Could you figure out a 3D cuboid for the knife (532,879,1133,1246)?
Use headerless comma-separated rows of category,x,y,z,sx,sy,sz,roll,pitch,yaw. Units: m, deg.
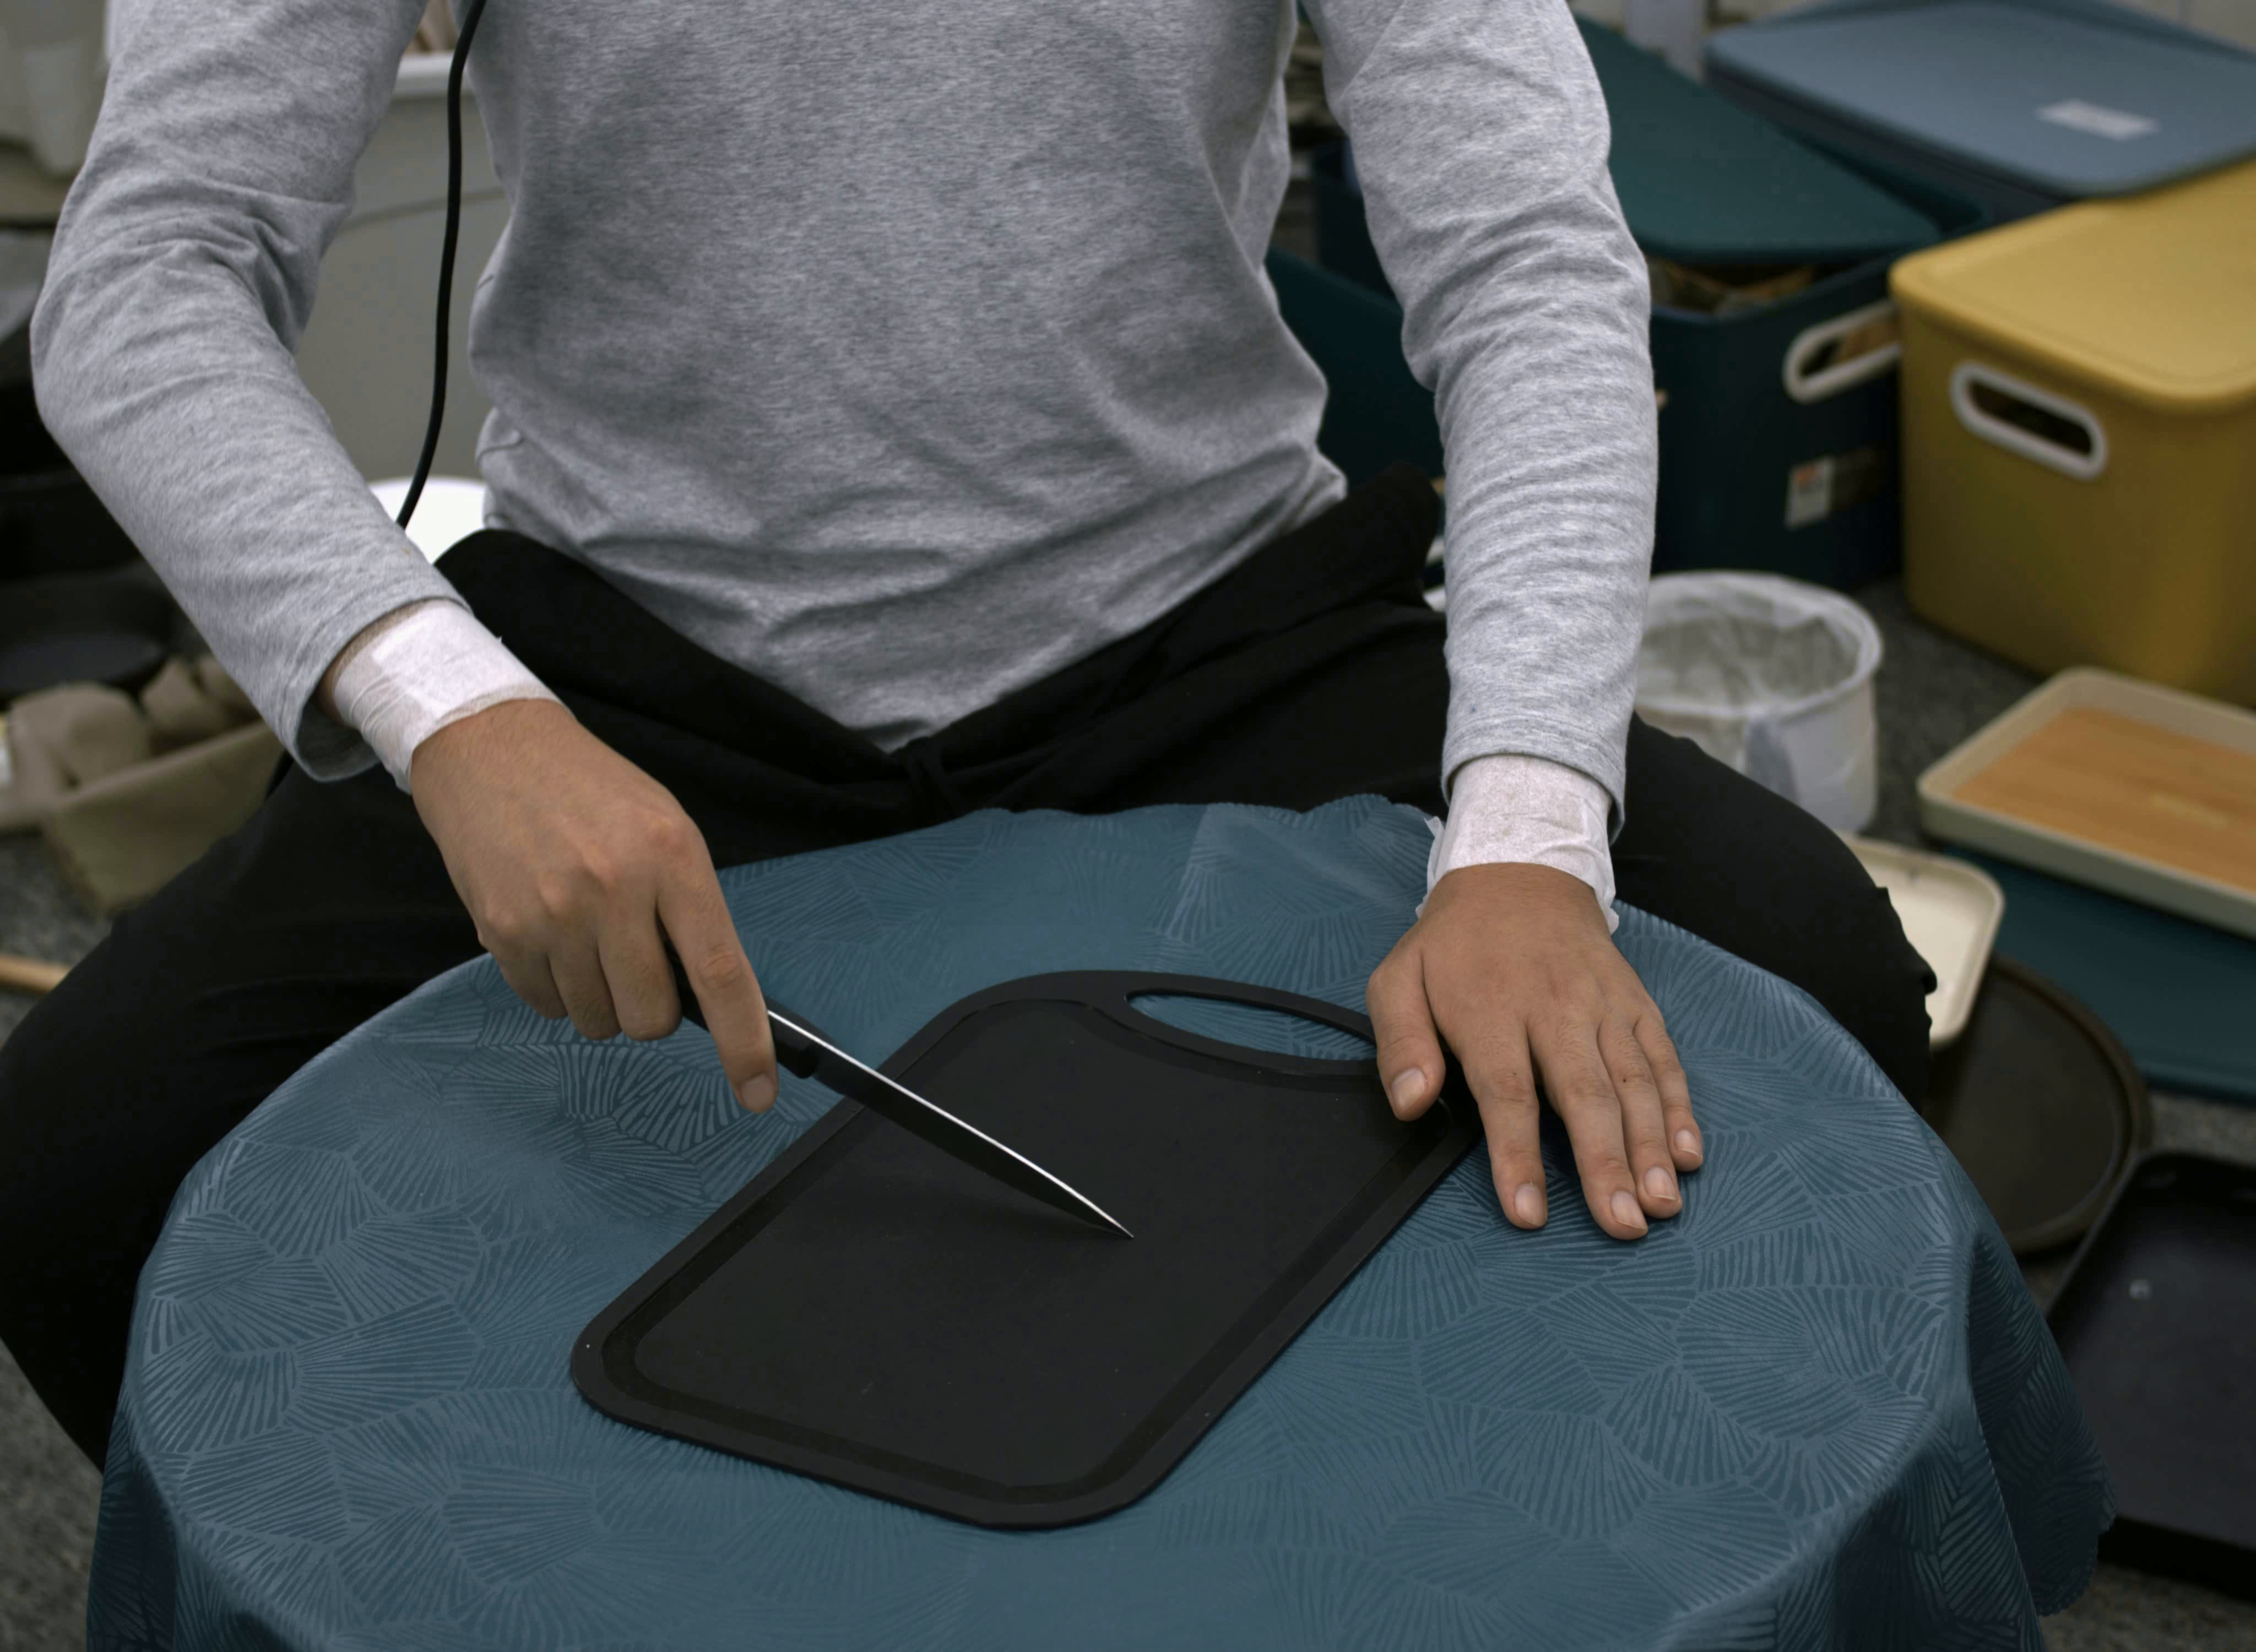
knife,-0.098,0.079,1.860,0.238,0.024,0.016,30,50,14

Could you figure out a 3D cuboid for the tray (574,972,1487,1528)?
tray,-0.024,0.127,1.846,0.210,0.009,0.330,13,31,27
